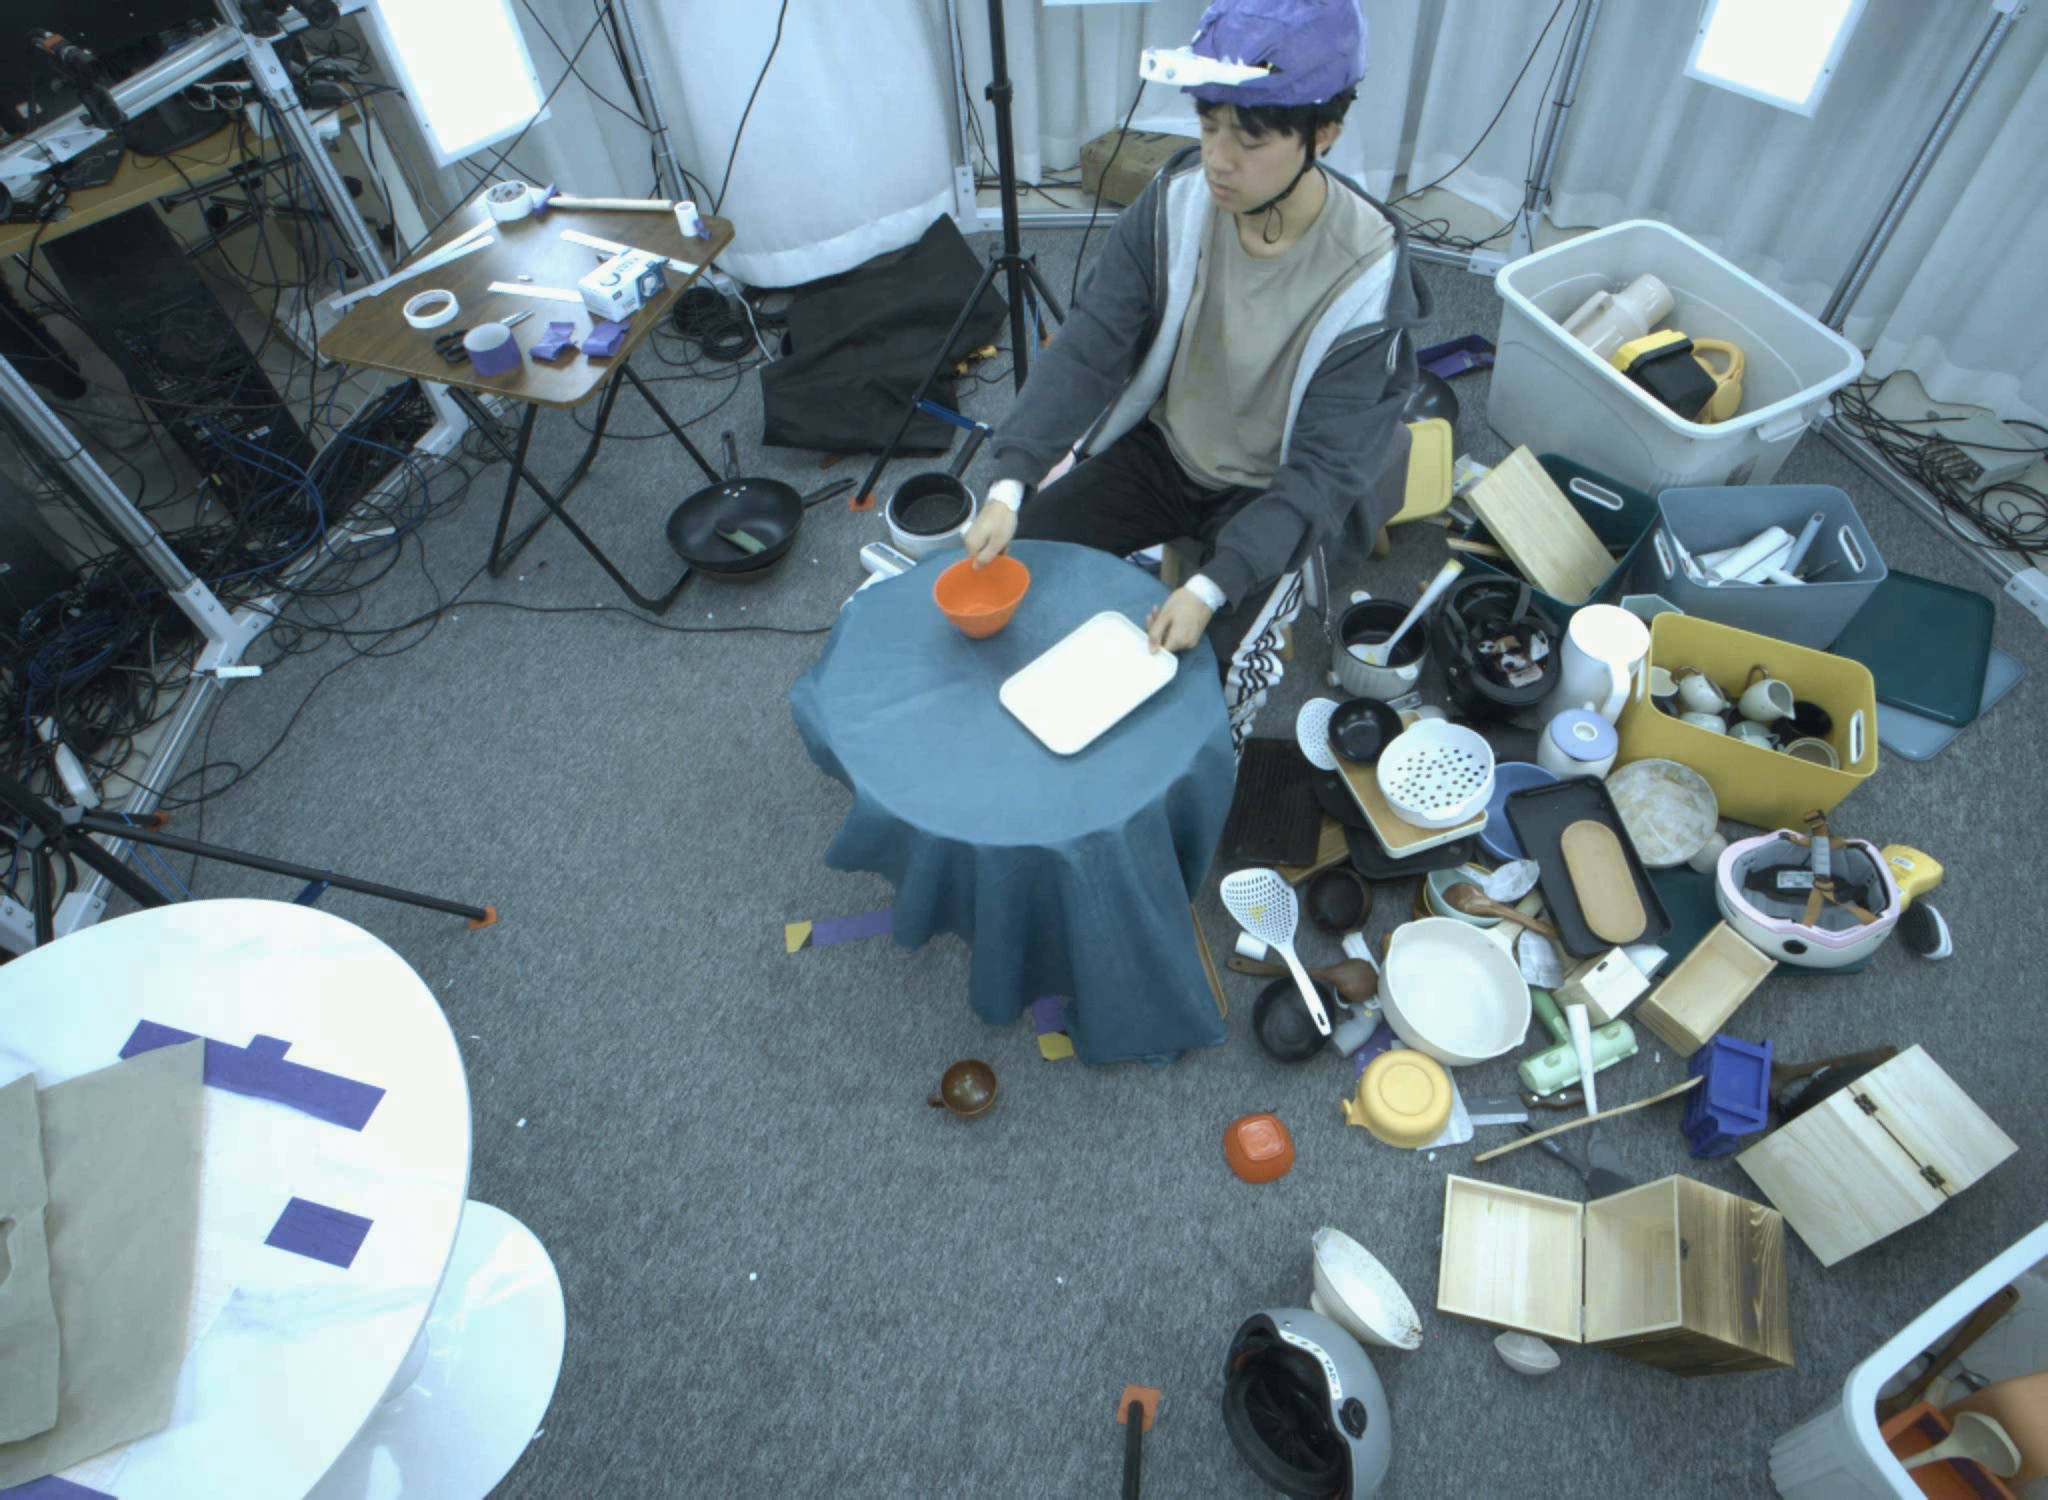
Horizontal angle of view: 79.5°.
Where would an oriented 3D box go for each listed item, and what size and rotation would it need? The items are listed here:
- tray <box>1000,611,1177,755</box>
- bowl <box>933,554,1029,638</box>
[{"bbox_3d":[0.097,-0.101,1.836,0.241,0.018,0.168,-38,60,-16],"label":"tray"},{"bbox_3d":[-0.064,-0.225,1.886,0.148,0.106,0.146,-1,54,2],"label":"bowl"}]
